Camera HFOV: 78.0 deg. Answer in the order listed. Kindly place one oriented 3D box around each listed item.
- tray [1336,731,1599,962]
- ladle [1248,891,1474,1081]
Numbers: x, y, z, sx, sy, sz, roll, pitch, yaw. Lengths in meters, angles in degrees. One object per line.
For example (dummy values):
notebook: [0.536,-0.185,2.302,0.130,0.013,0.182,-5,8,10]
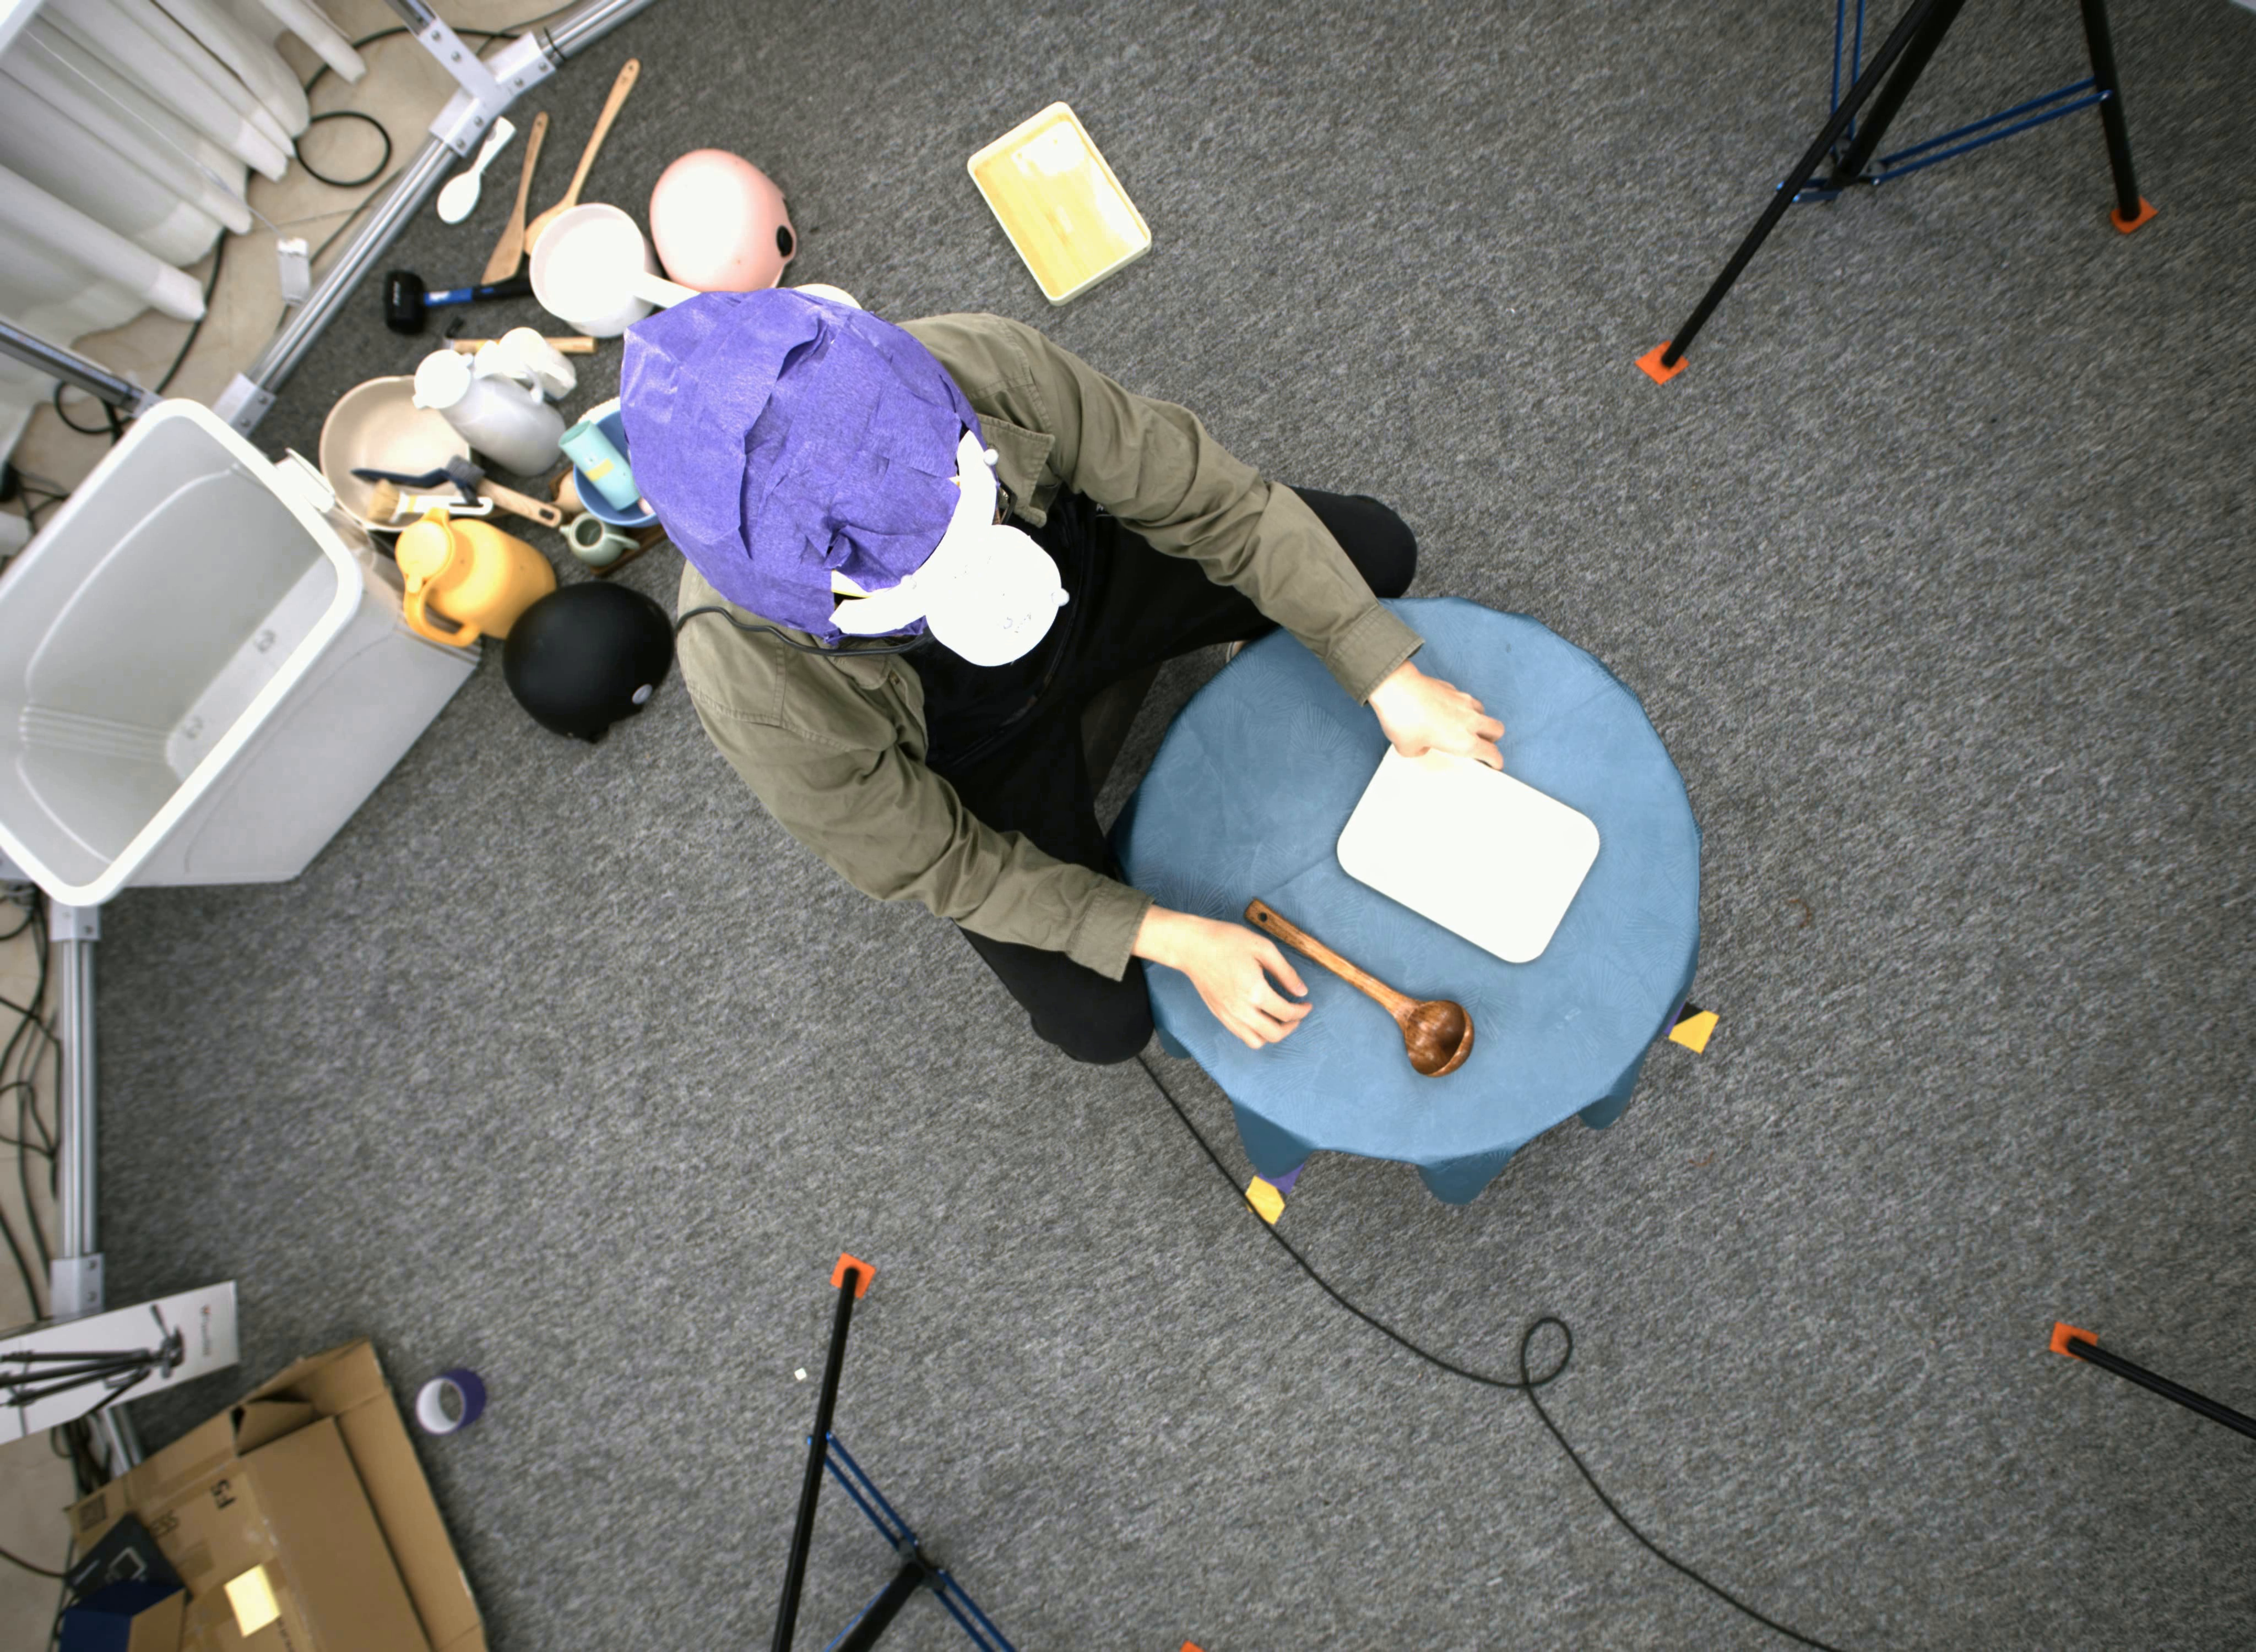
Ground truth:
tray: [0.350,0.018,1.426,0.239,0.017,0.171,29,93,9]
ladle: [0.230,0.157,1.414,0.273,0.076,0.082,36,97,10]
